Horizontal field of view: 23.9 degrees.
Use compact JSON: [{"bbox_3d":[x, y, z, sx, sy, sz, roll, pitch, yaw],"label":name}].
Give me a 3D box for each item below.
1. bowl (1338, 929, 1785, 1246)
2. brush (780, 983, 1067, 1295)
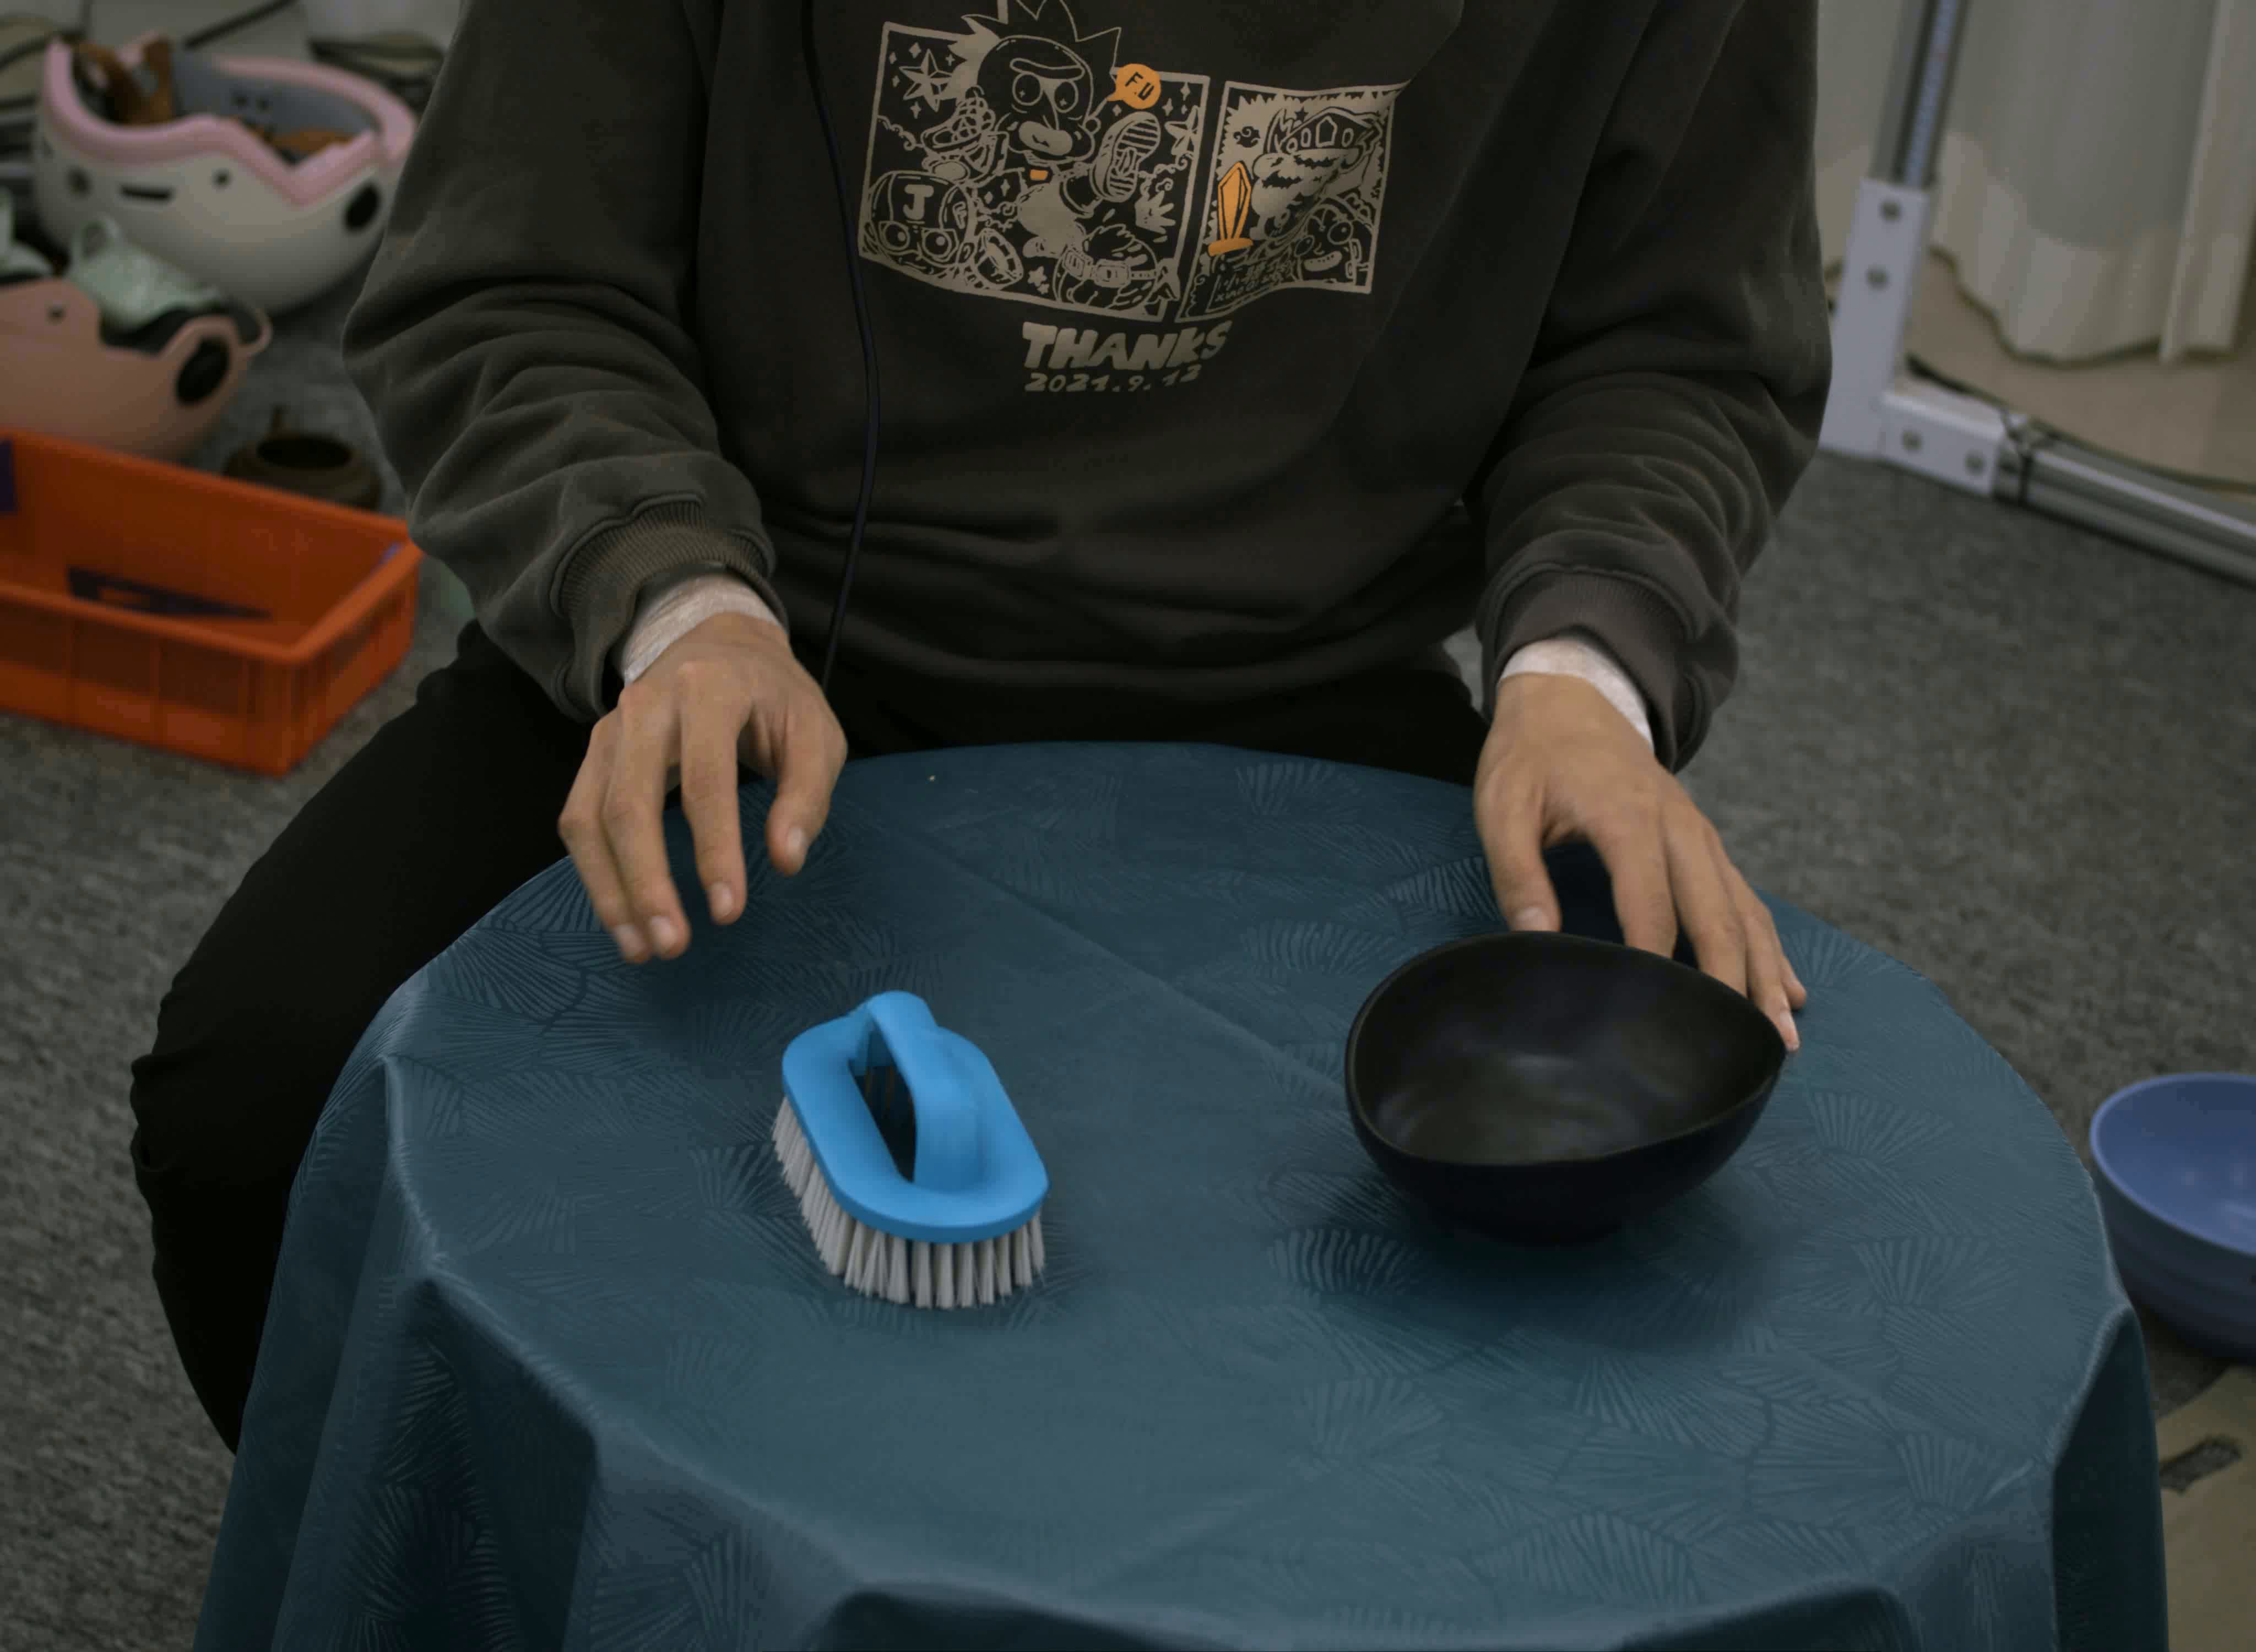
[{"bbox_3d":[0.145,0.099,1.816,0.138,0.066,0.169,26,34,36],"label":"bowl"},{"bbox_3d":[-0.070,0.095,1.772,0.084,0.063,0.143,-5,27,-13],"label":"brush"}]
